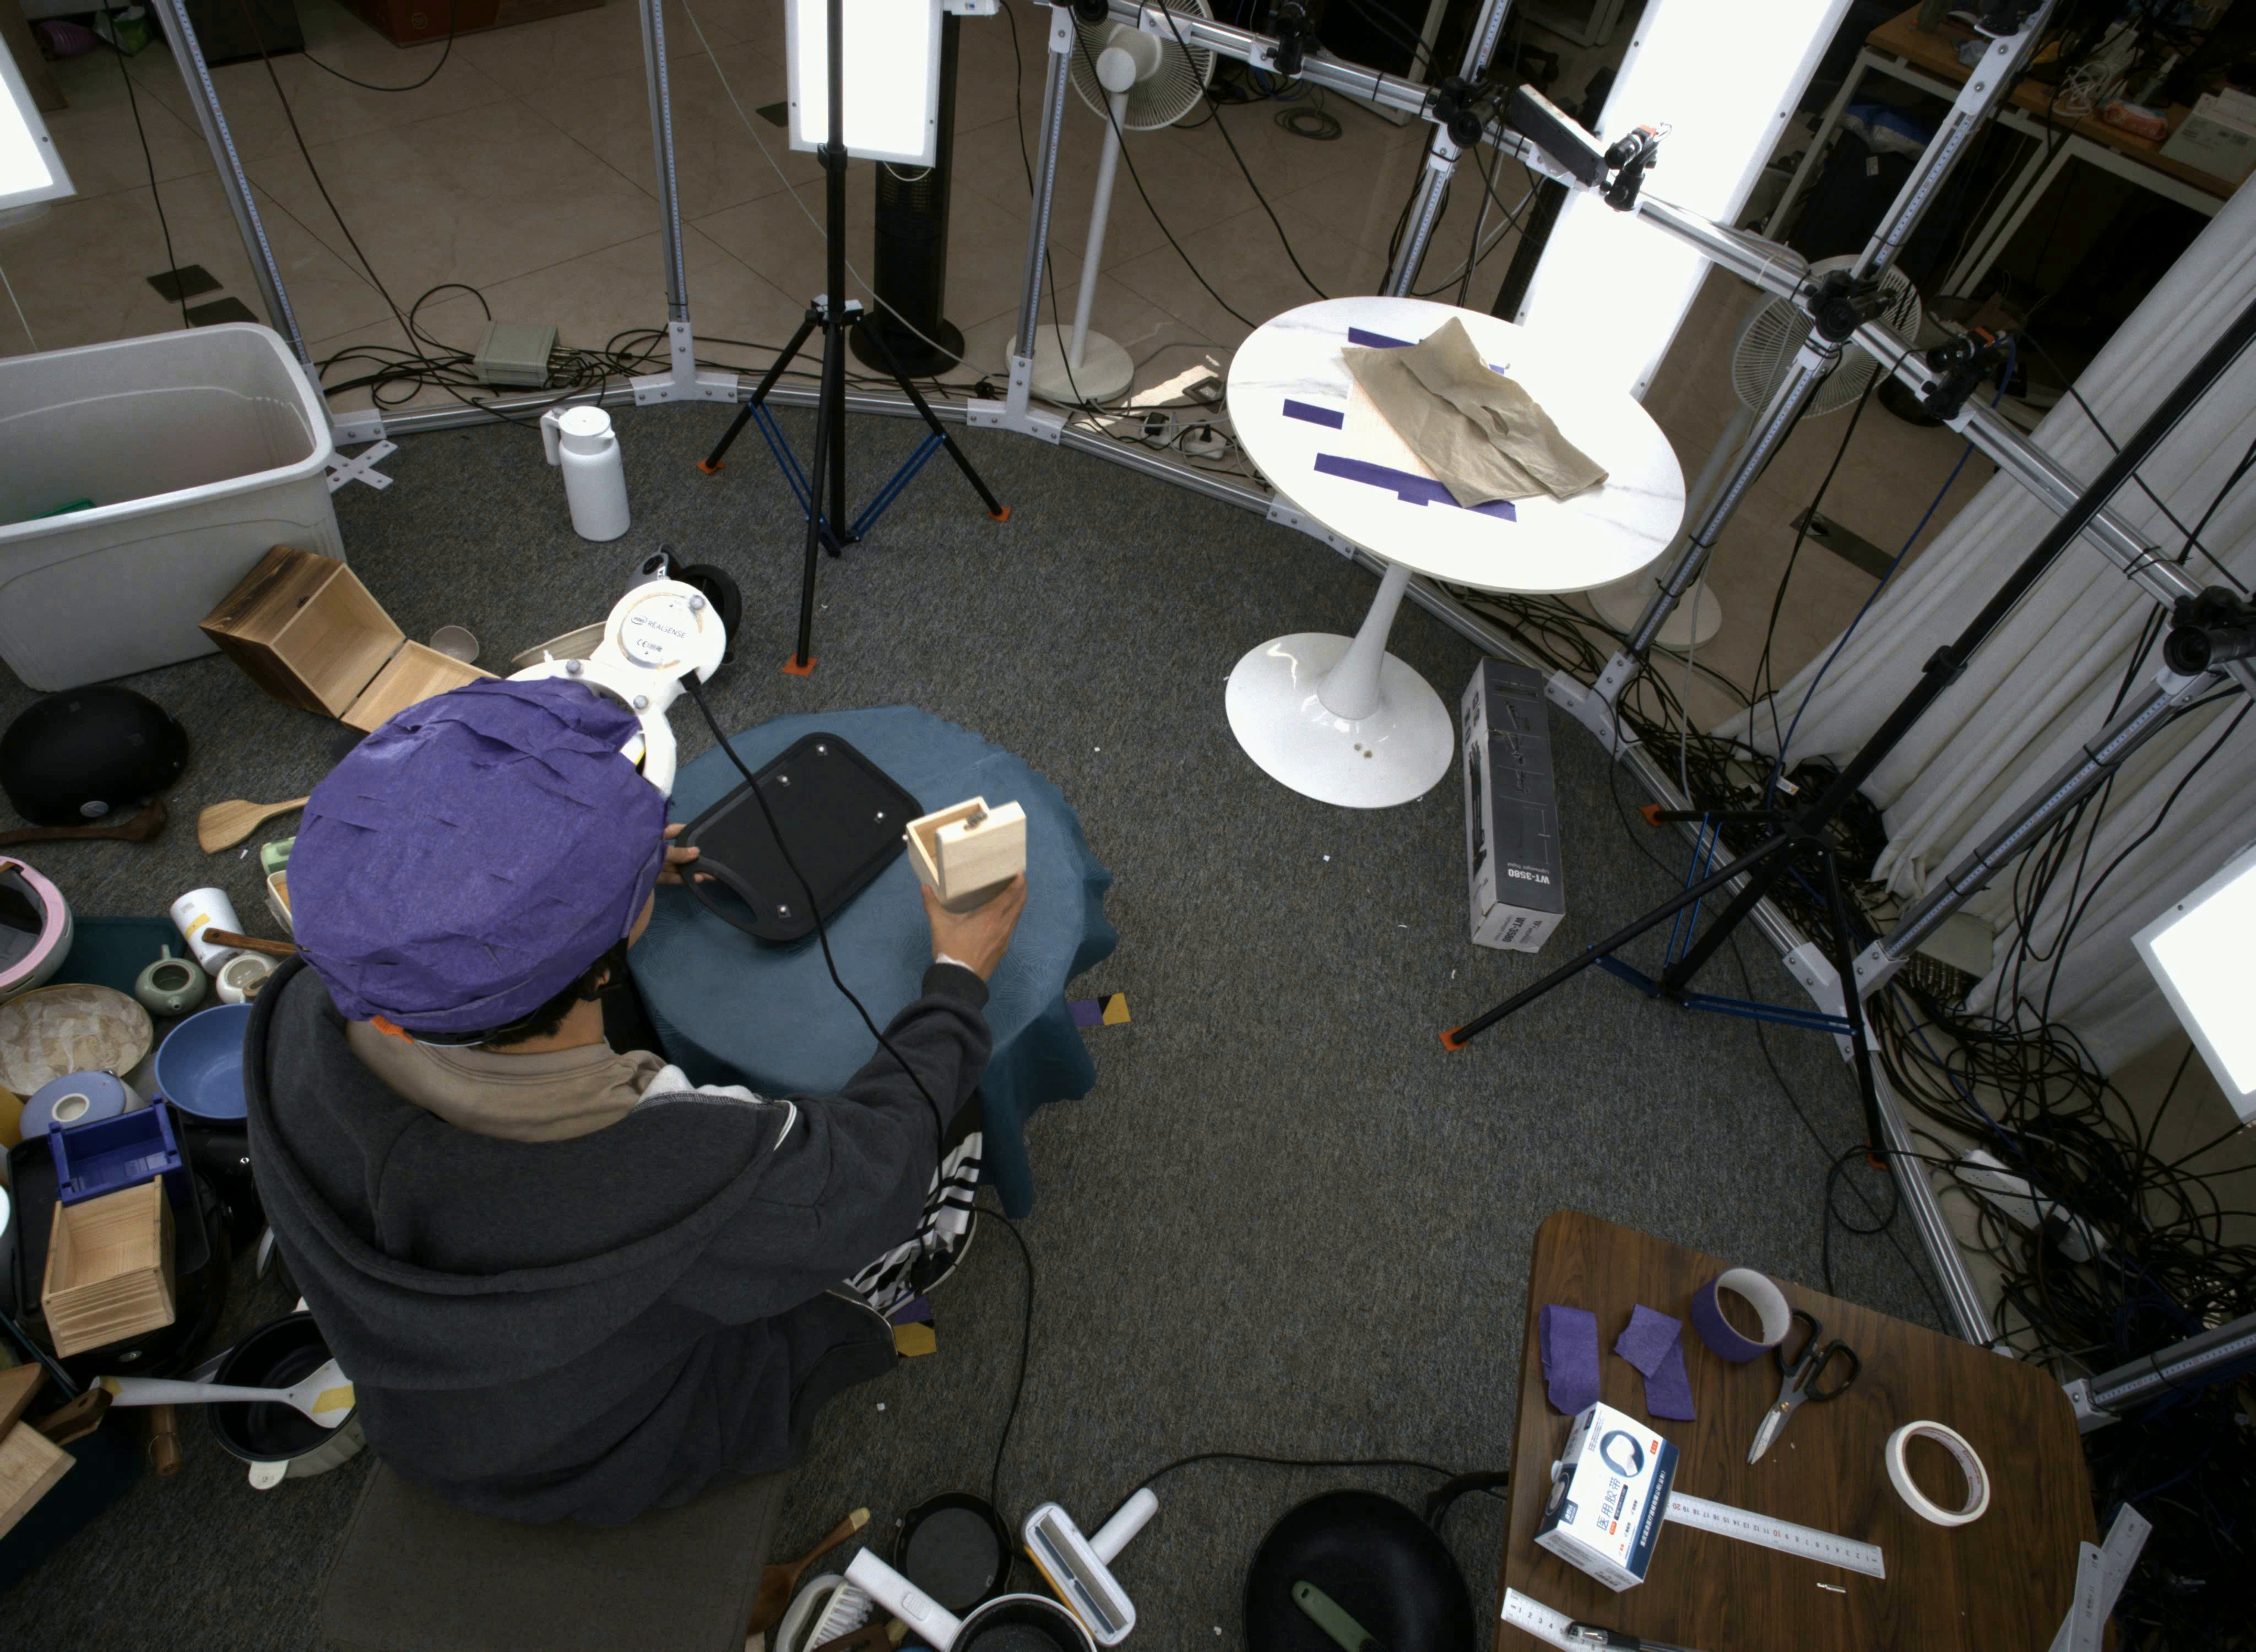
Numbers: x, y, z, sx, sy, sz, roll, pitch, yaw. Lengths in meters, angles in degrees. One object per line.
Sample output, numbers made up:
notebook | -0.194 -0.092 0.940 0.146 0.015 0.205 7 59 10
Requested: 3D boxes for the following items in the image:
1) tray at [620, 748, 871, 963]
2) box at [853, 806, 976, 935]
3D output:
tray | -0.486 0.033 1.646 0.210 0.010 0.324 38 48 1
box | -0.252 0.027 1.518 0.103 0.189 0.130 -26 61 -23
